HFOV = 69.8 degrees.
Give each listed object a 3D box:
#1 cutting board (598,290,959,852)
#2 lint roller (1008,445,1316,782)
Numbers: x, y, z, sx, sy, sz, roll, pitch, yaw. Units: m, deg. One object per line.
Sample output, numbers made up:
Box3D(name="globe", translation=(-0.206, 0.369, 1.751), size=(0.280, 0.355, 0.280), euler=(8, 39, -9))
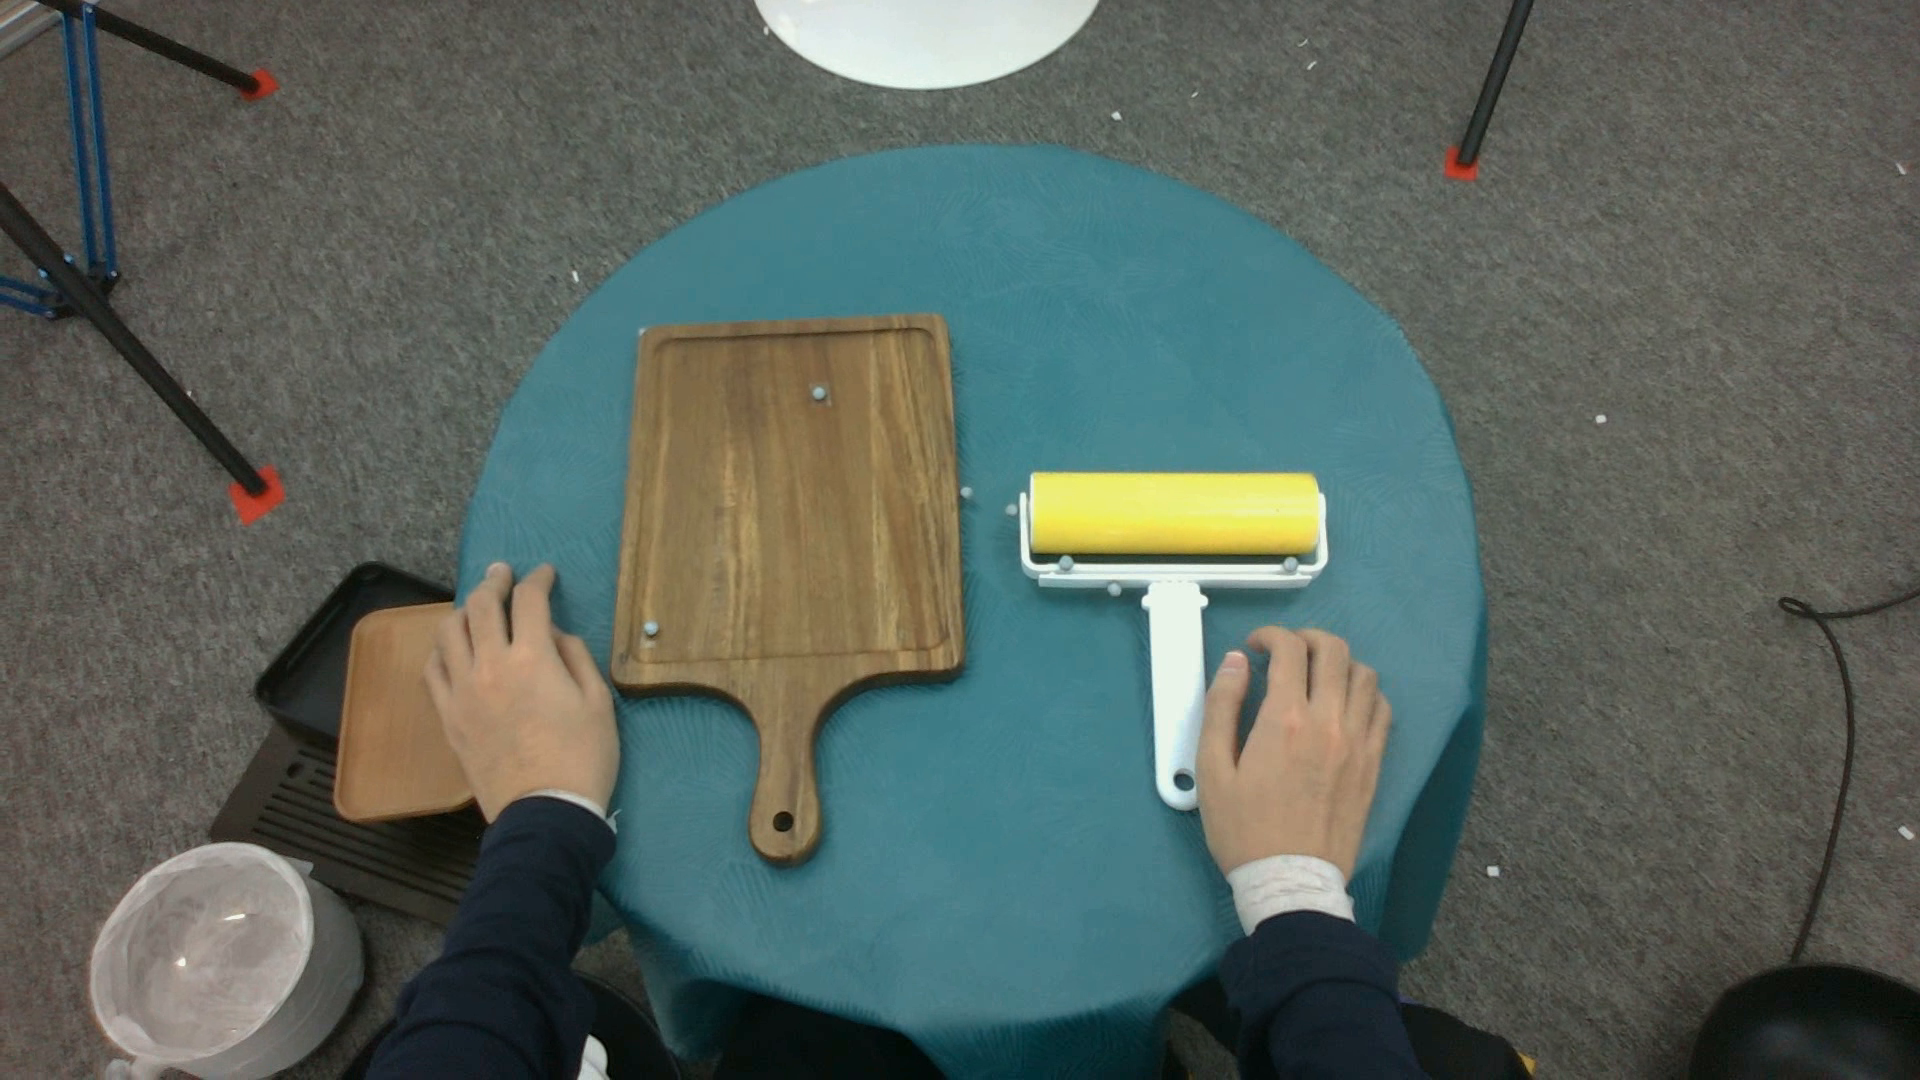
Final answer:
Box3D(name="cutting board", translation=(-0.105, 0.004, 0.792), size=(0.201, 0.023, 0.353), euler=(-4, 61, -1))
Box3D(name="lint roller", translation=(0.116, 0.034, 0.756), size=(0.174, 0.051, 0.193), euler=(-2, 58, 1))
